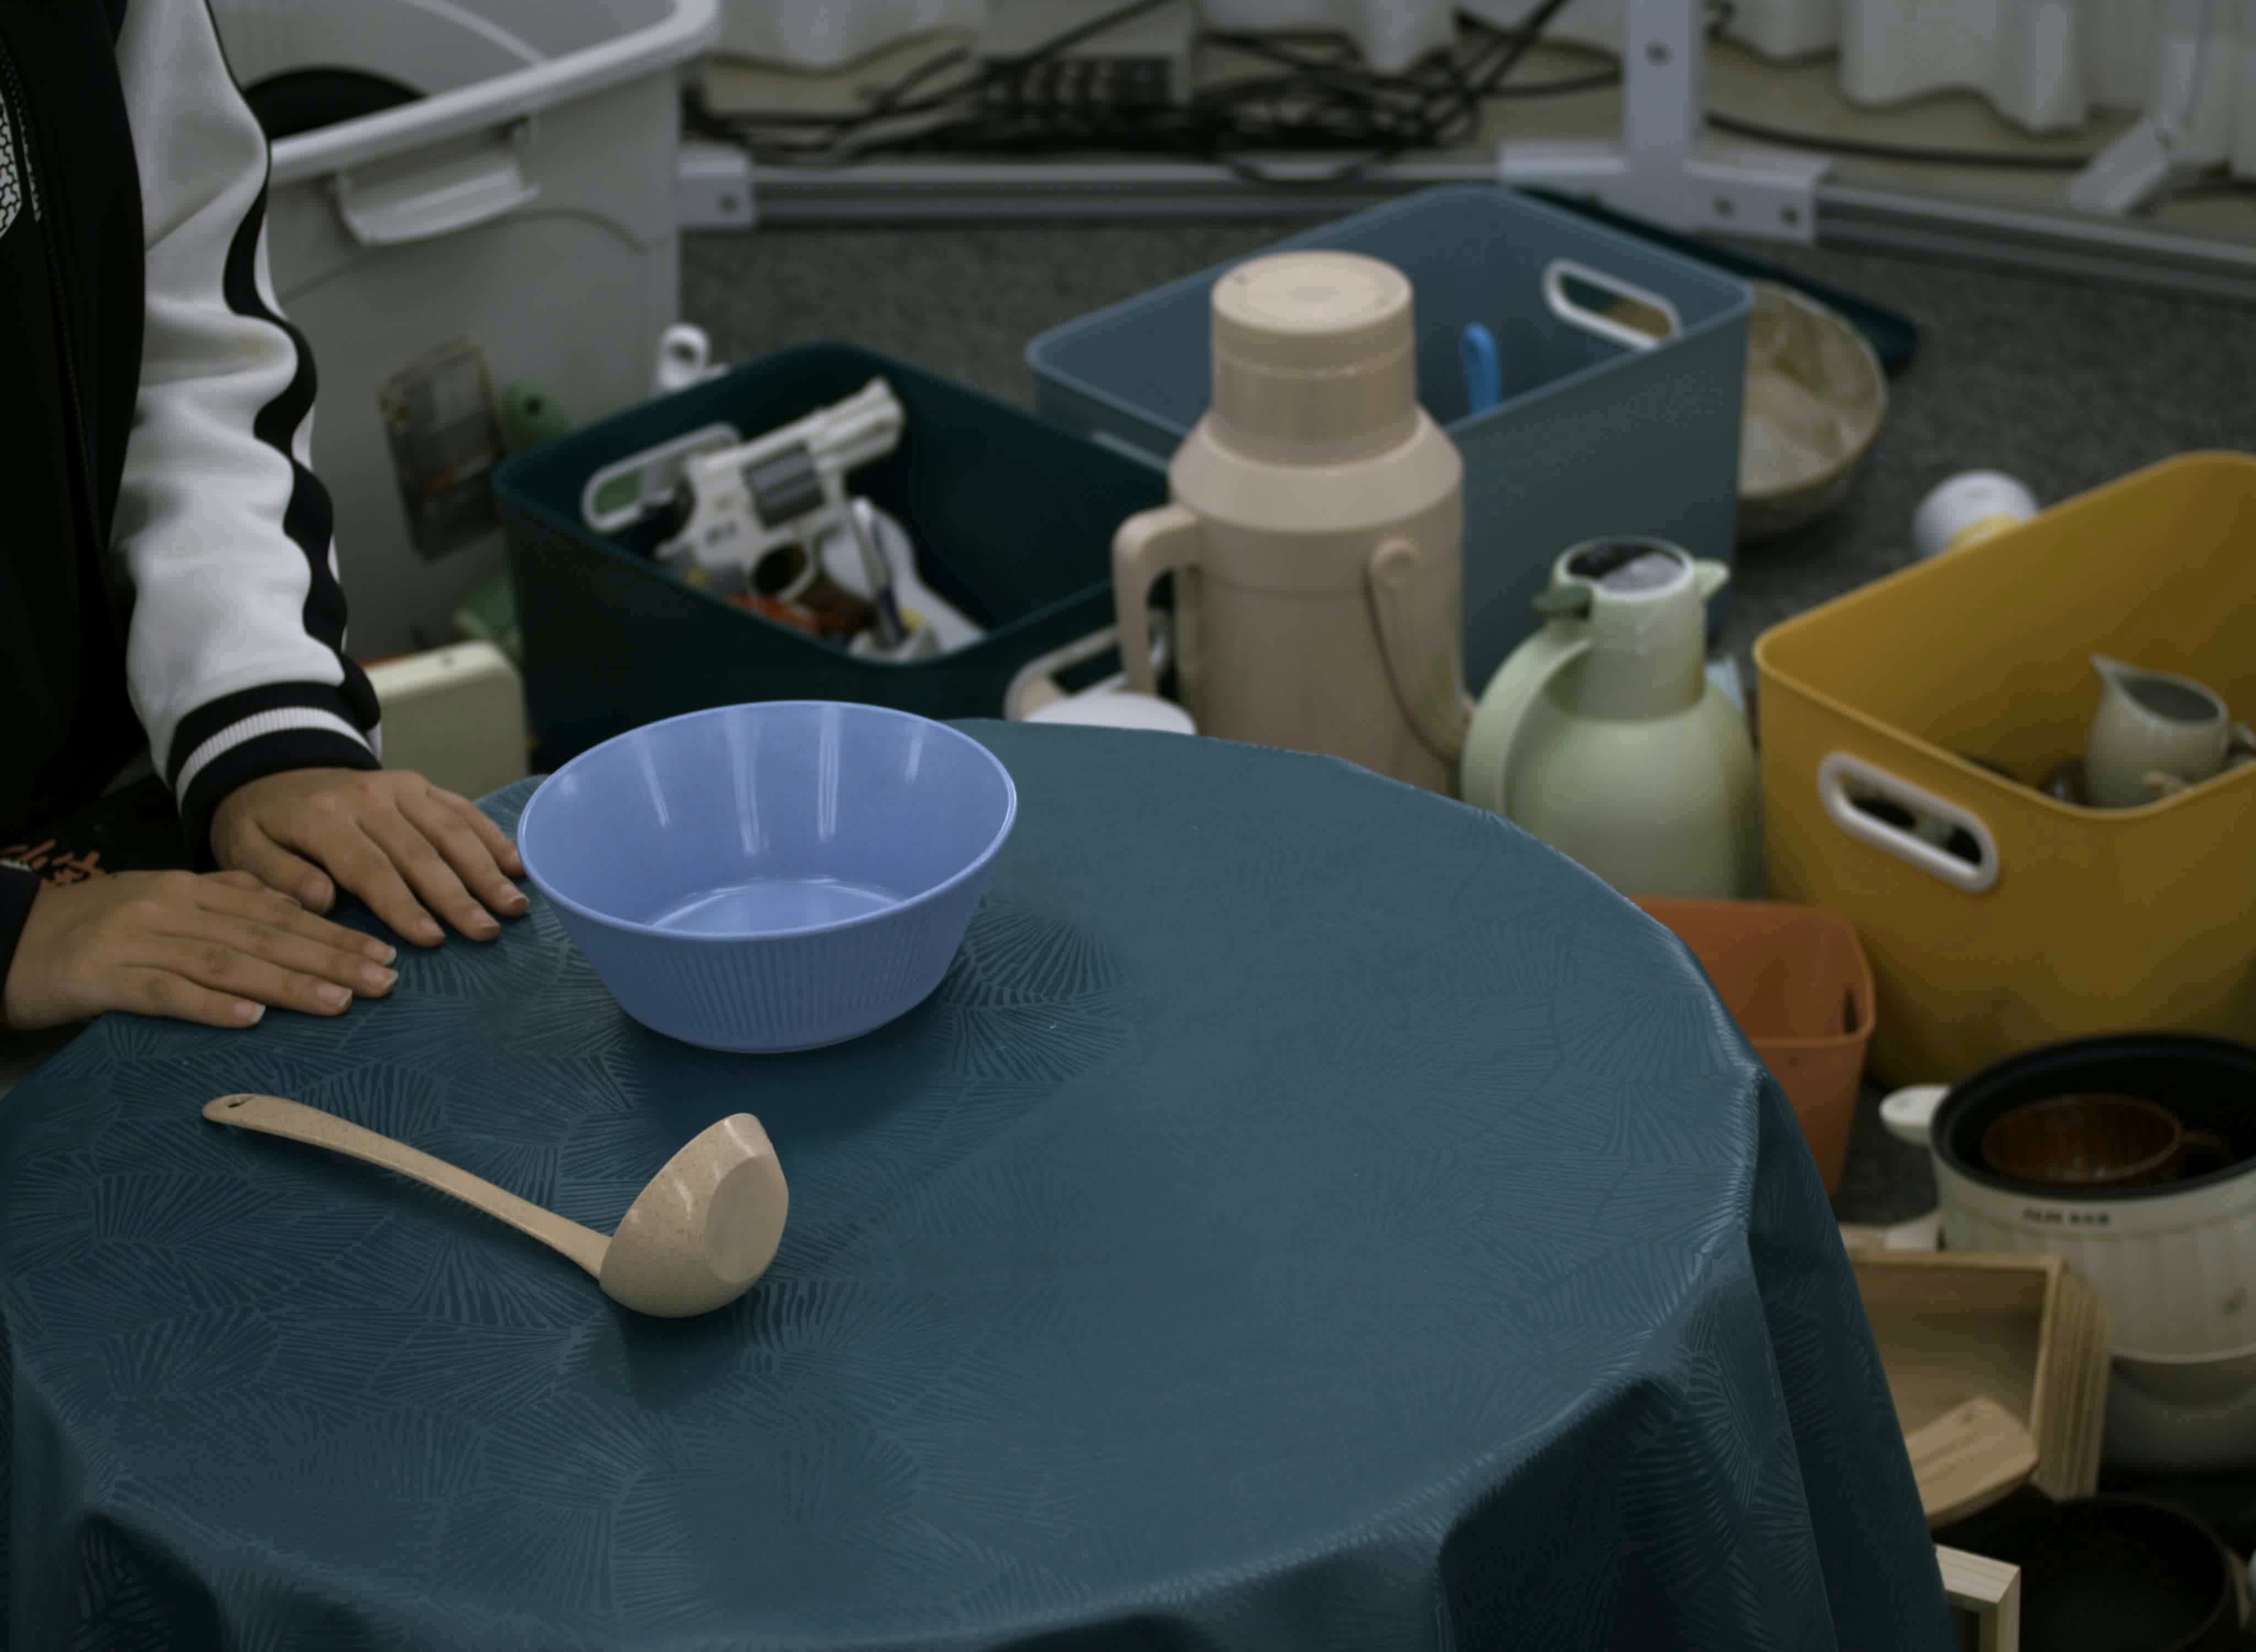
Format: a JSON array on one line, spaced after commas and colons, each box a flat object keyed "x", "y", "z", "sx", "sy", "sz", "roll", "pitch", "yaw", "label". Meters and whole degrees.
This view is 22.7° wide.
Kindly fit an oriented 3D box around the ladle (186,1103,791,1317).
[{"x": -0.221, "y": 0.099, "z": 1.848, "sx": 0.253, "sy": 0.072, "sz": 0.073, "roll": 16, "pitch": 32, "yaw": 32, "label": "ladle"}]

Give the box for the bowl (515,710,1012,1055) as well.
[{"x": -0.126, "y": 0.026, "z": 1.985, "sx": 0.175, "sy": 0.069, "sz": 0.179, "roll": -1, "pitch": 26, "yaw": 1, "label": "bowl"}]
